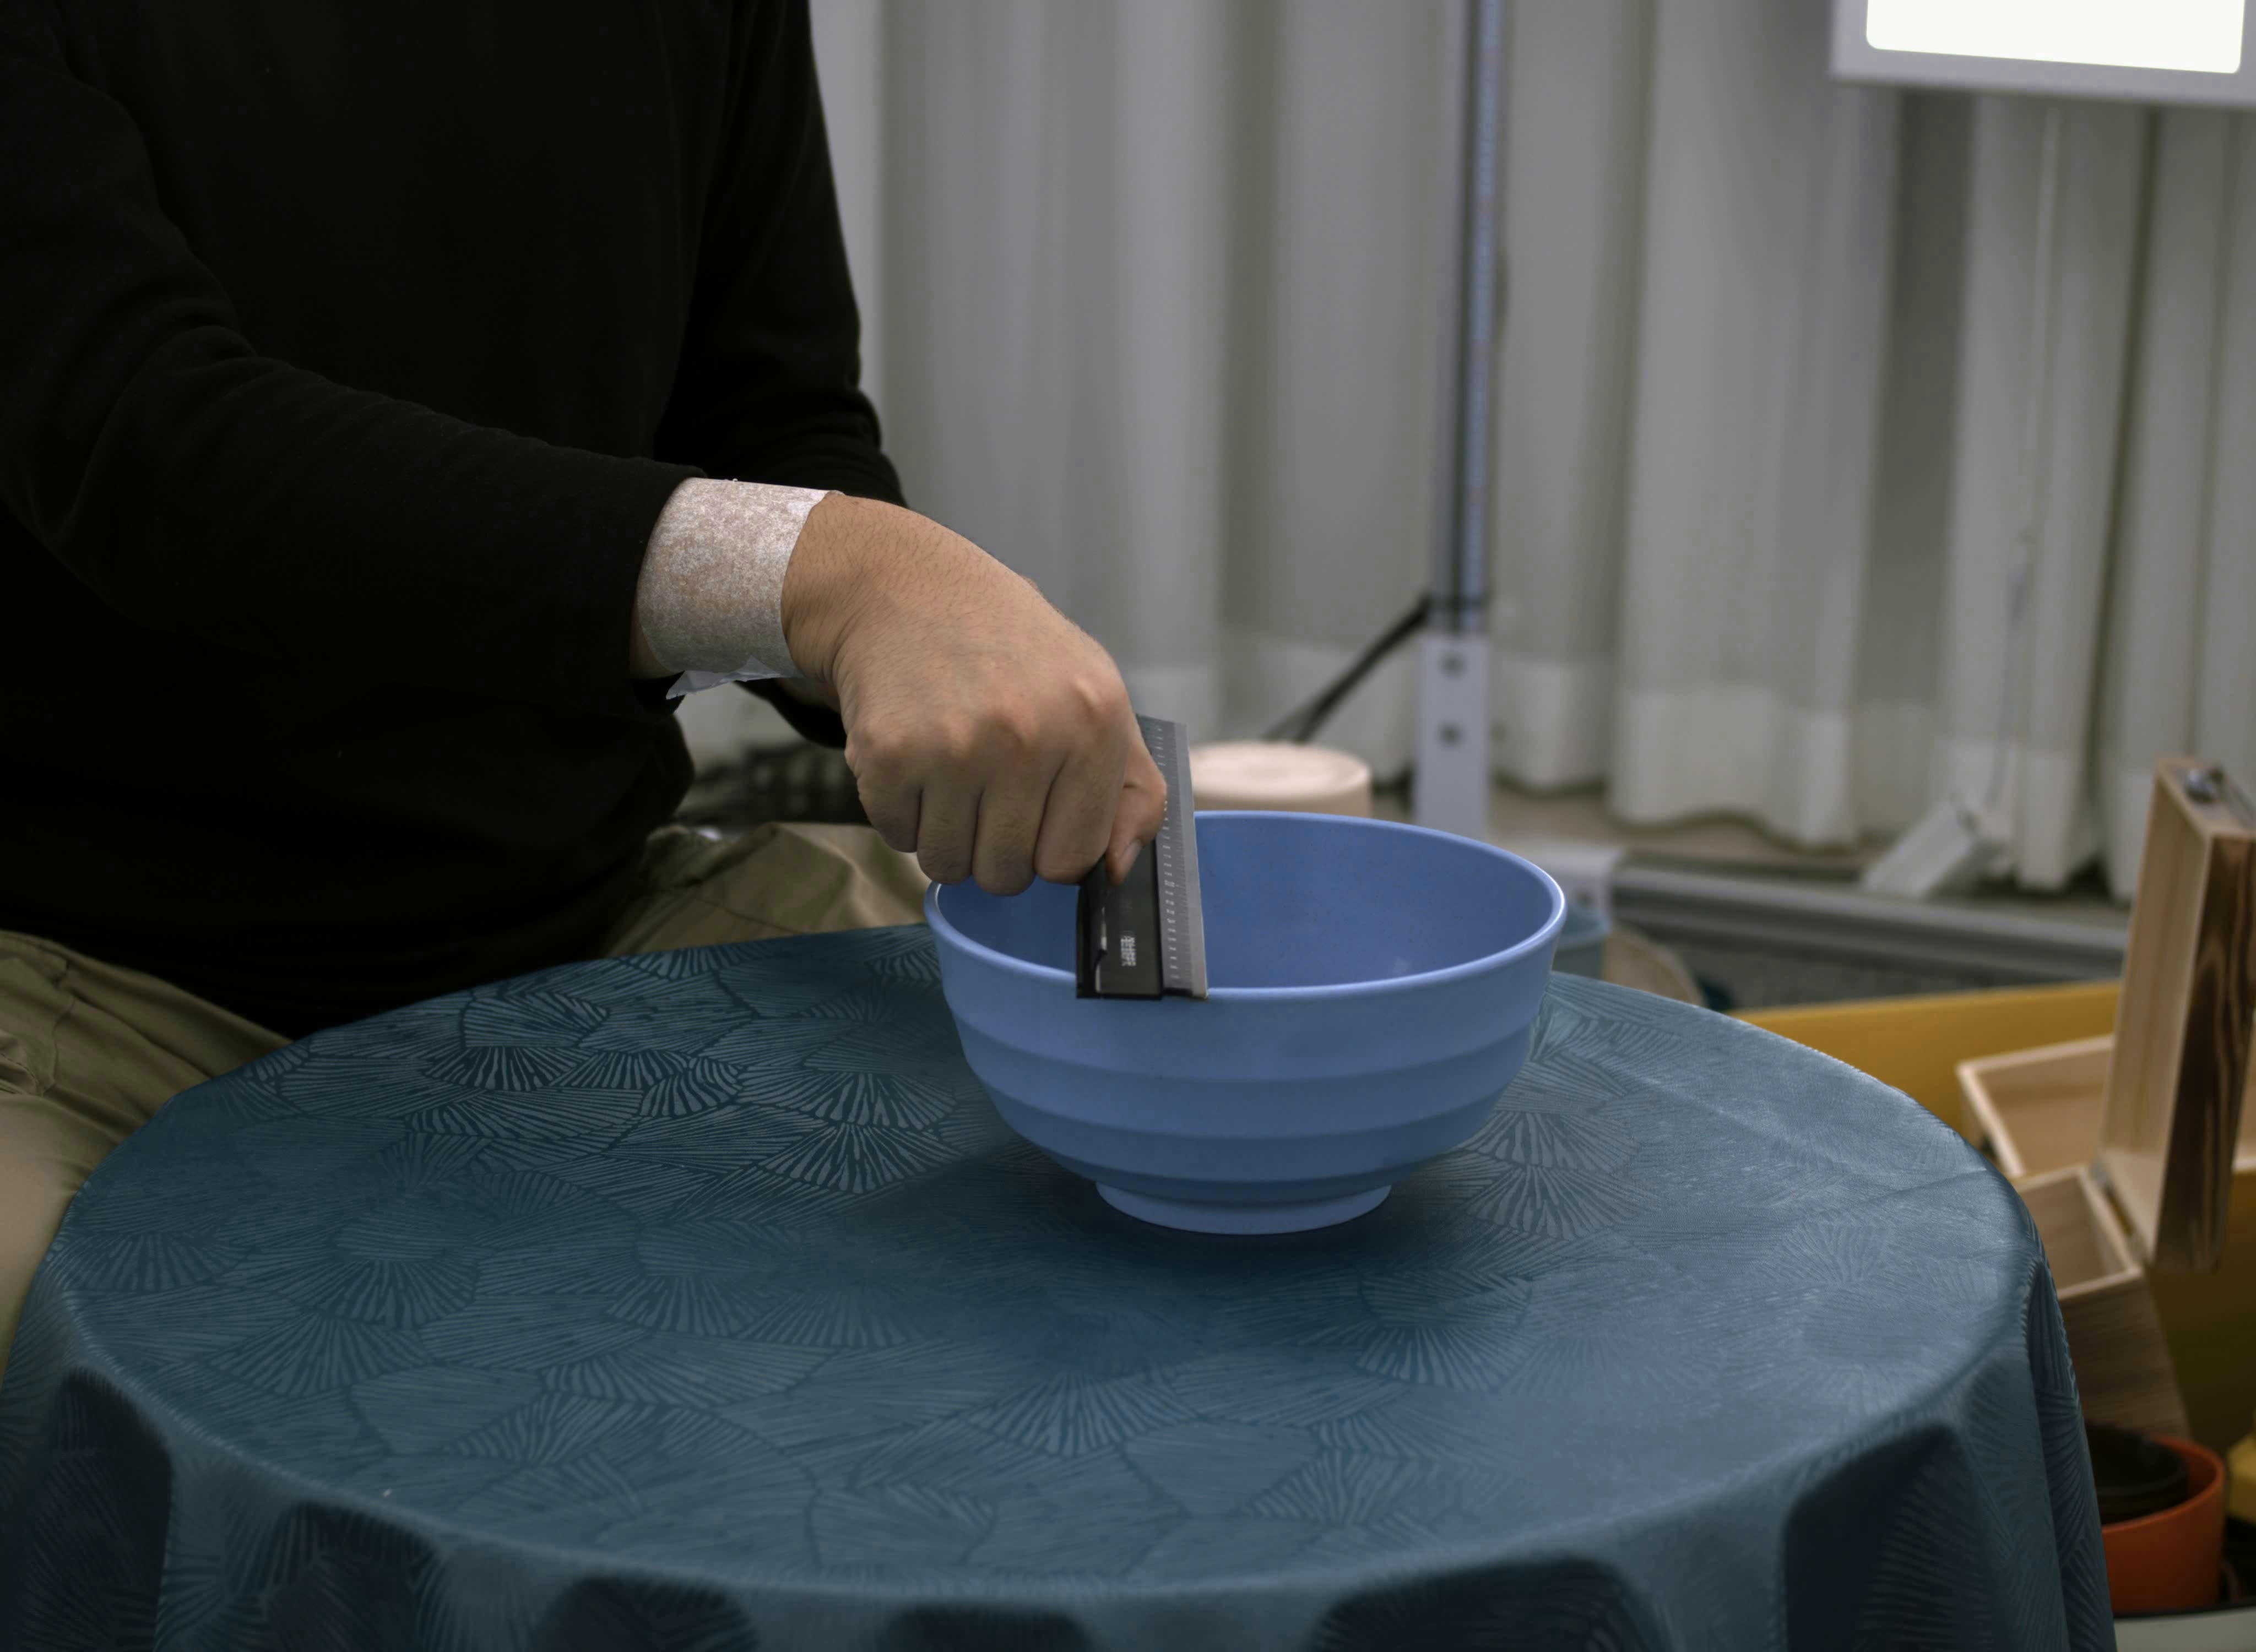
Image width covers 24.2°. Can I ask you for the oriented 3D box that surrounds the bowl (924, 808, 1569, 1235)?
[{"bbox_3d":[0.035,0.065,1.612,0.196,0.096,0.195,1,16,0],"label":"bowl"}]

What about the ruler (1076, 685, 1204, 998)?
[{"bbox_3d":[0.004,0.001,1.640,0.039,0.017,0.311,7,15,-2],"label":"ruler"}]
